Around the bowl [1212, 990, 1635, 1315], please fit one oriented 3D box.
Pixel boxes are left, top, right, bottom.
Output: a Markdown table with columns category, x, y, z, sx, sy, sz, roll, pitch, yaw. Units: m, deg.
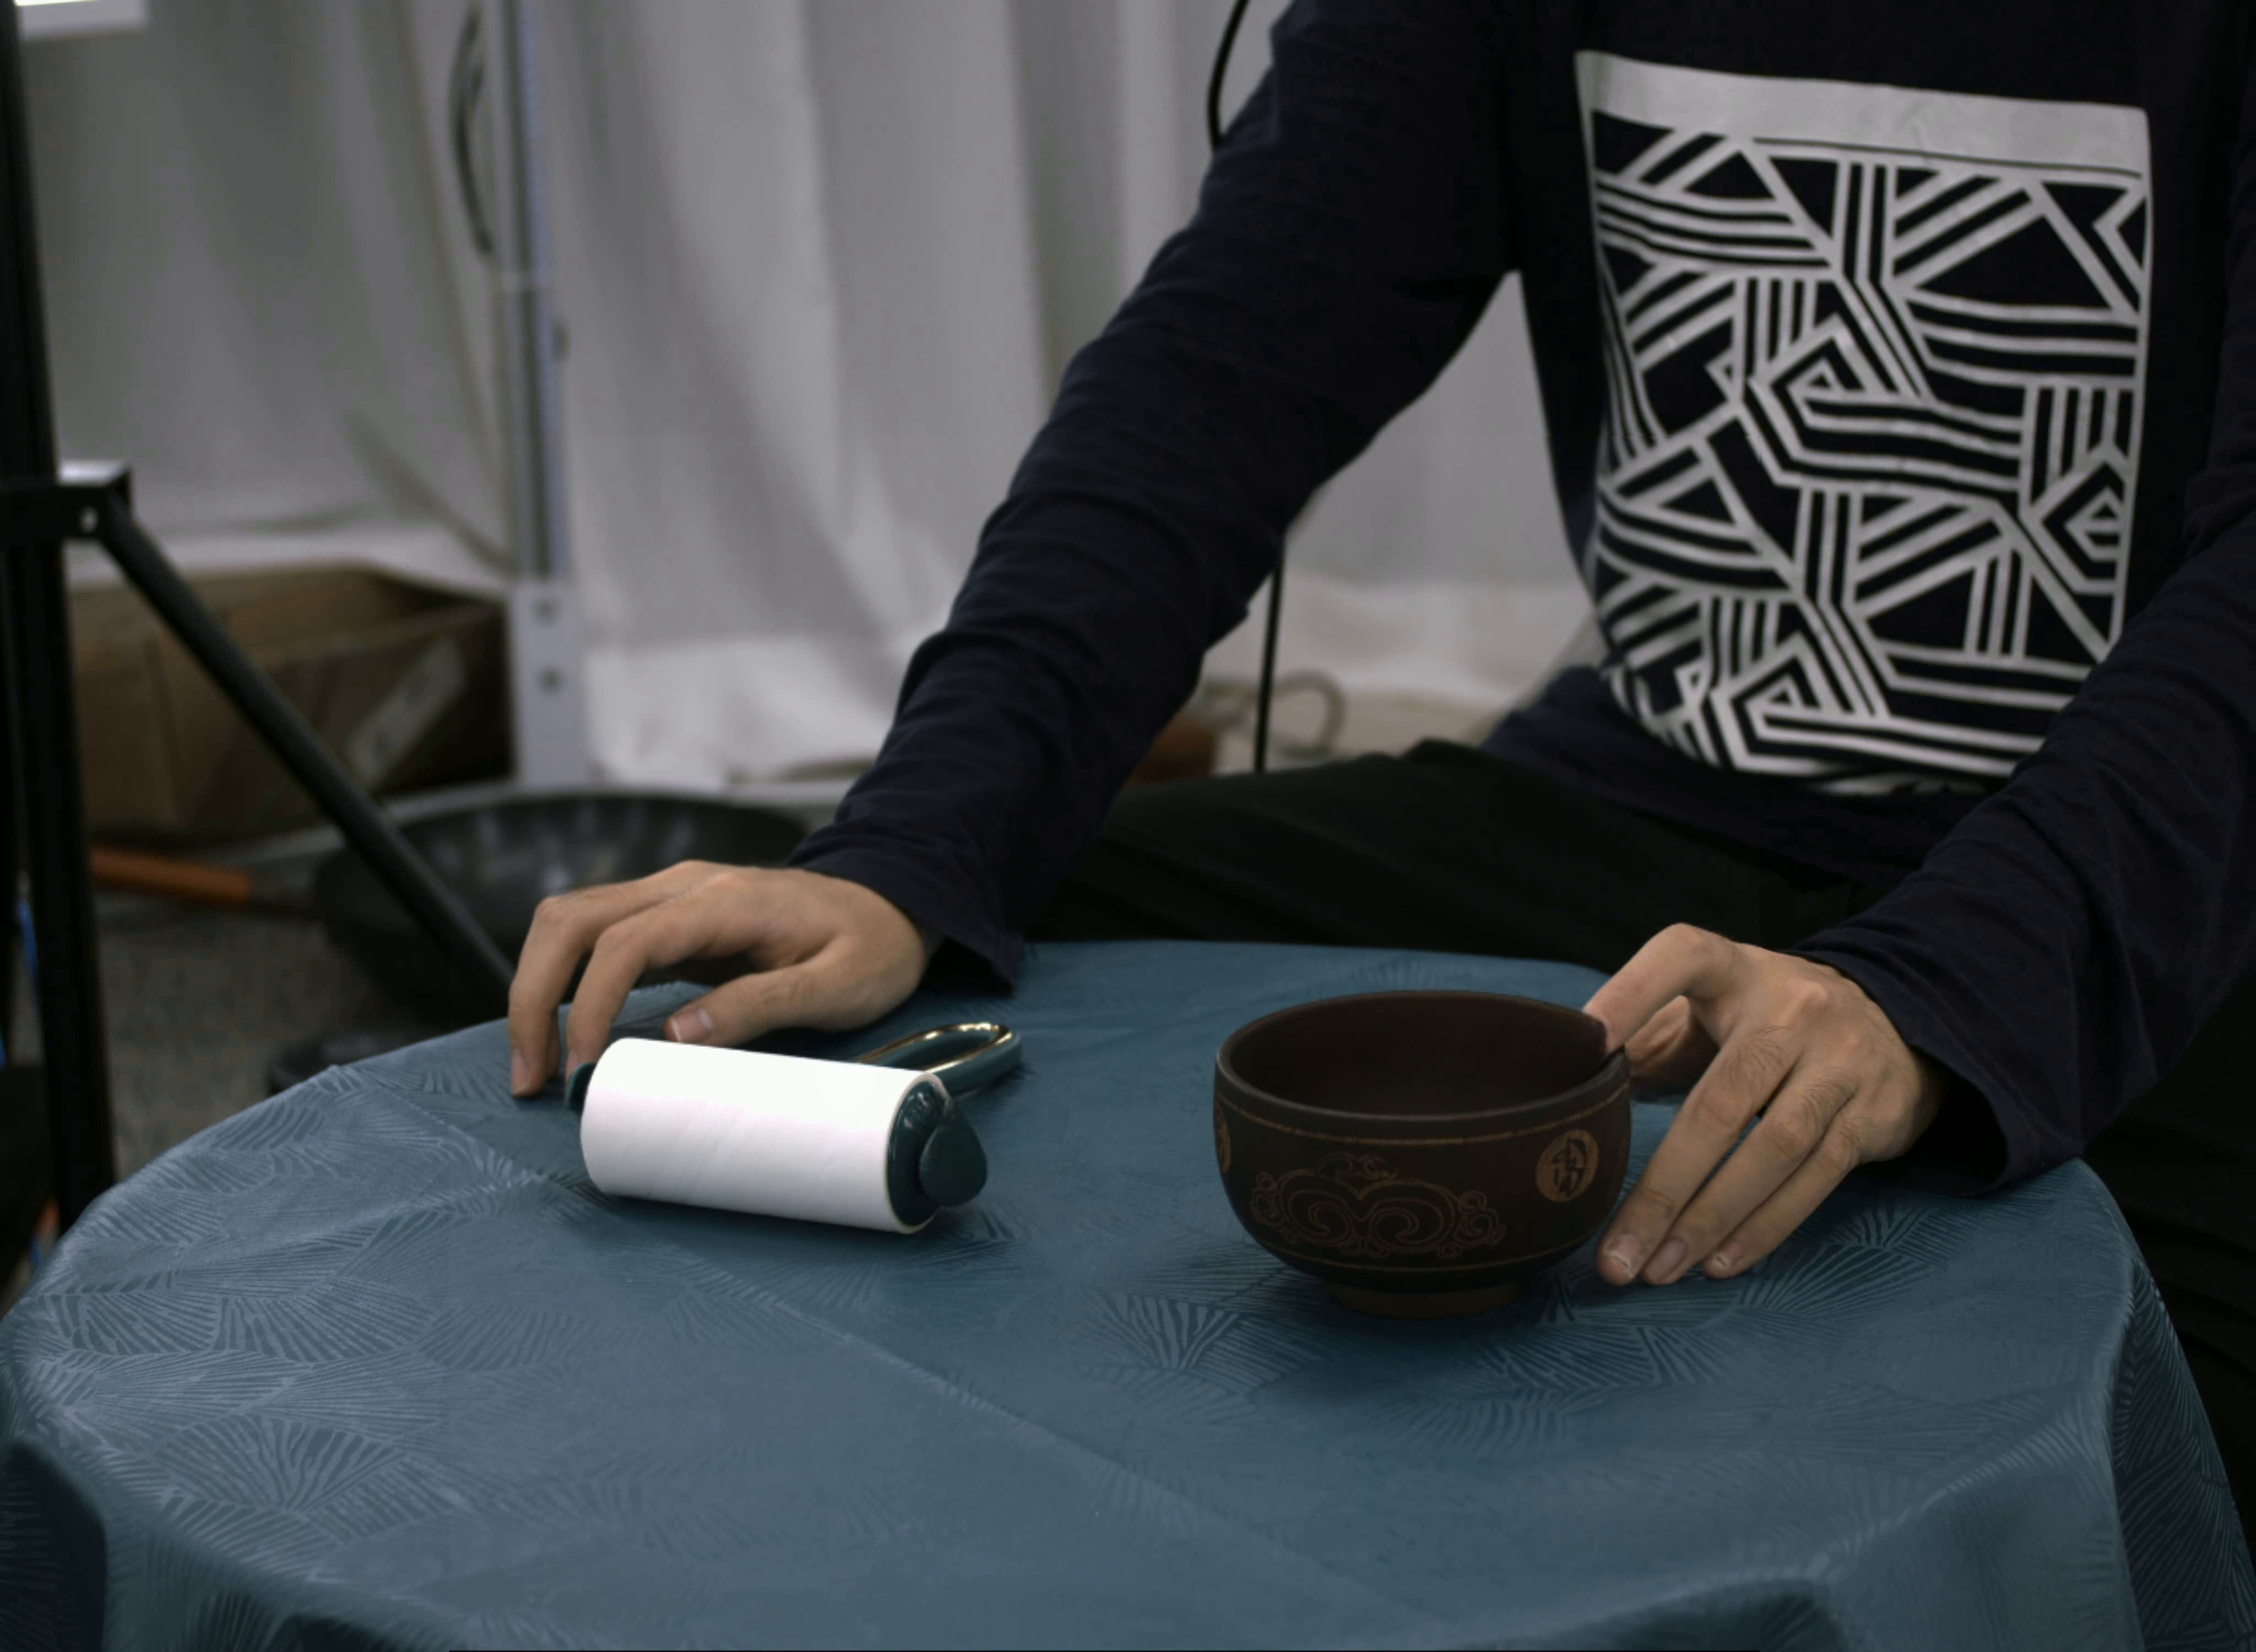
| category | x | y | z | sx | sy | sz | roll | pitch | yaw |
| --- | --- | --- | --- | --- | --- | --- | --- | --- | --- |
| bowl | 0.082 | 0.094 | 1.466 | 0.117 | 0.070 | 0.118 | -3 | 13 | -1 |

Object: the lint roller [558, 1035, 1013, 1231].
| category | x | y | z | sx | sy | sz | roll | pitch | yaw |
| --- | --- | --- | --- | --- | --- | --- | --- | --- | --- |
| lint roller | -0.079 | 0.076 | 1.614 | 0.136 | 0.048 | 0.177 | 5 | 15 | 24 |
